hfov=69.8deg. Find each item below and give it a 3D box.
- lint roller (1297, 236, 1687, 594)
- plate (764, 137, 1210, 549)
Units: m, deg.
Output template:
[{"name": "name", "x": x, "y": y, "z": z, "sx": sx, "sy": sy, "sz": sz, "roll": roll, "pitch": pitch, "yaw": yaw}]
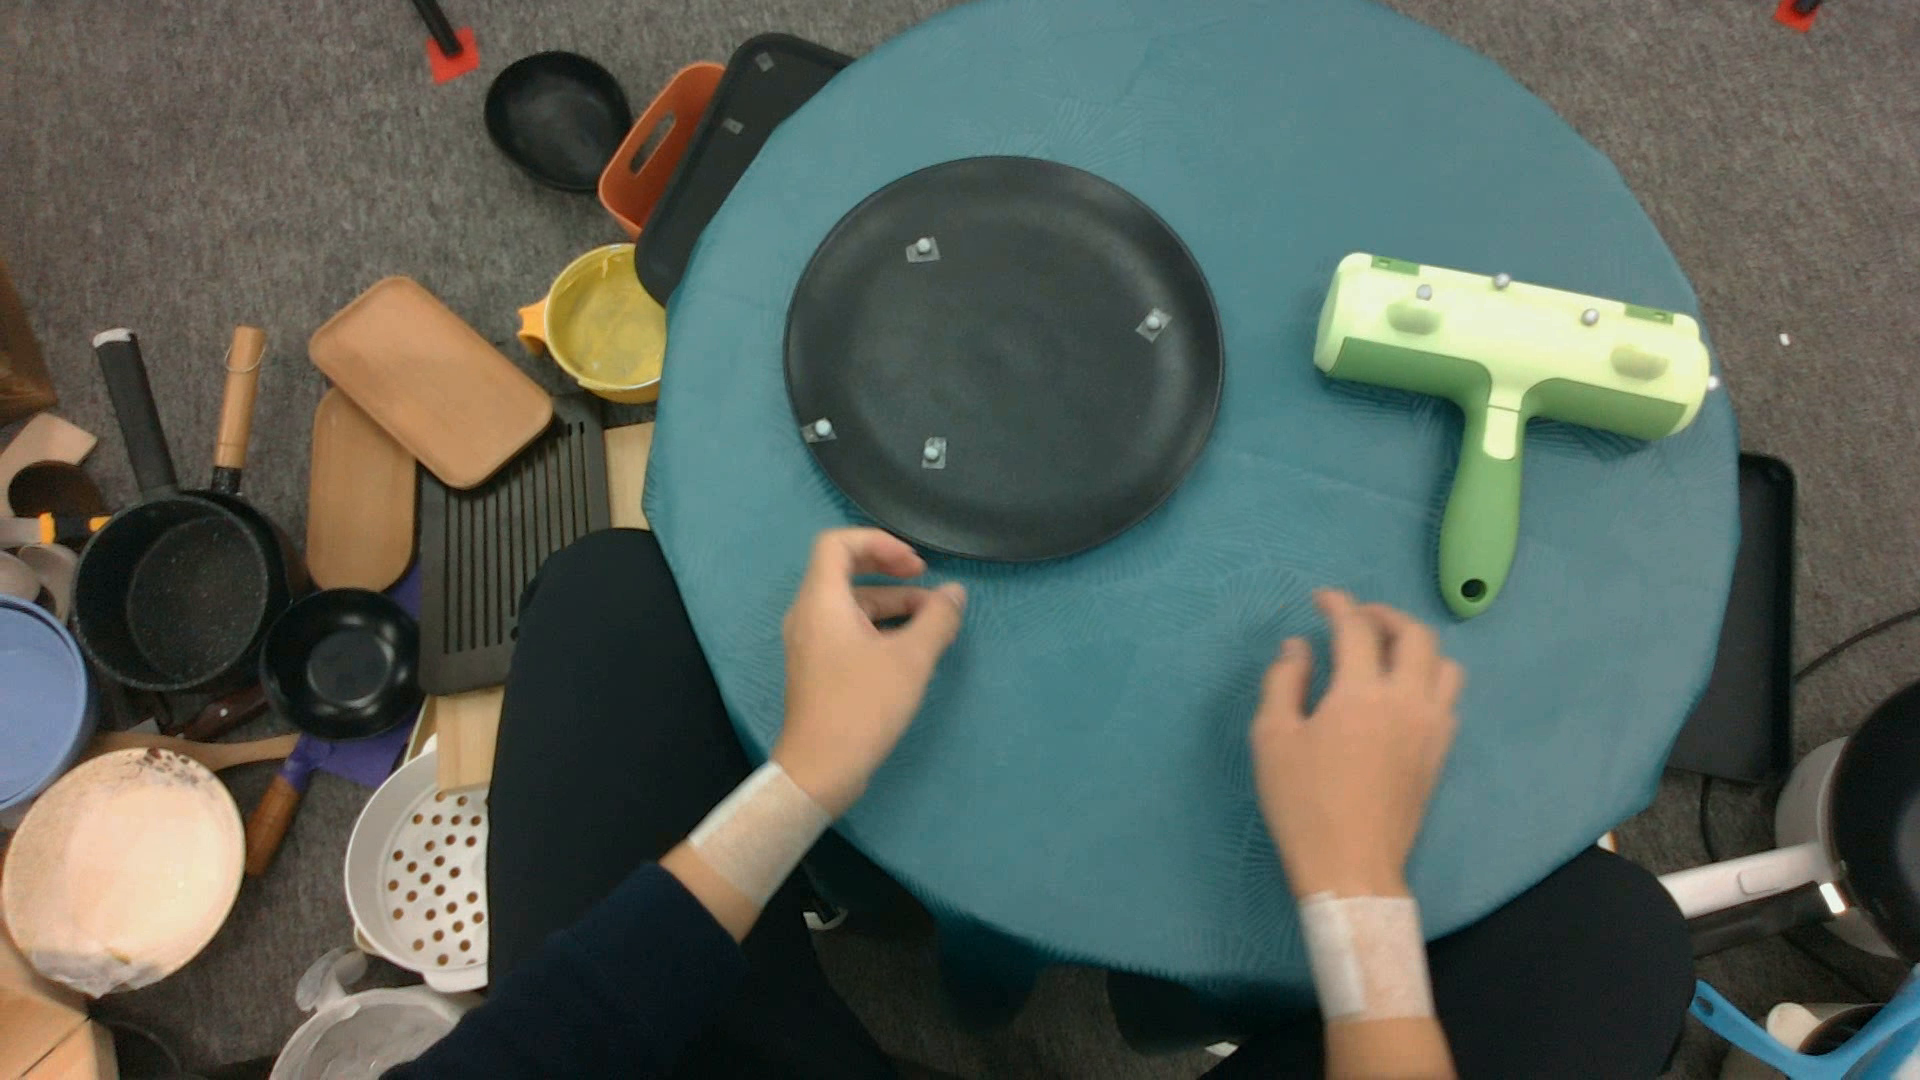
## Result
[{"name": "lint roller", "x": 0.276, "y": -0.067, "z": 0.719, "sx": 0.198, "sy": 0.082, "sz": 0.184, "roll": 10, "pitch": 68, "yaw": 3}, {"name": "plate", "x": 0.015, "y": -0.110, "z": 0.760, "sx": 0.244, "sy": 0.023, "sz": 0.245, "roll": 0, "pitch": 74, "yaw": -1}]
